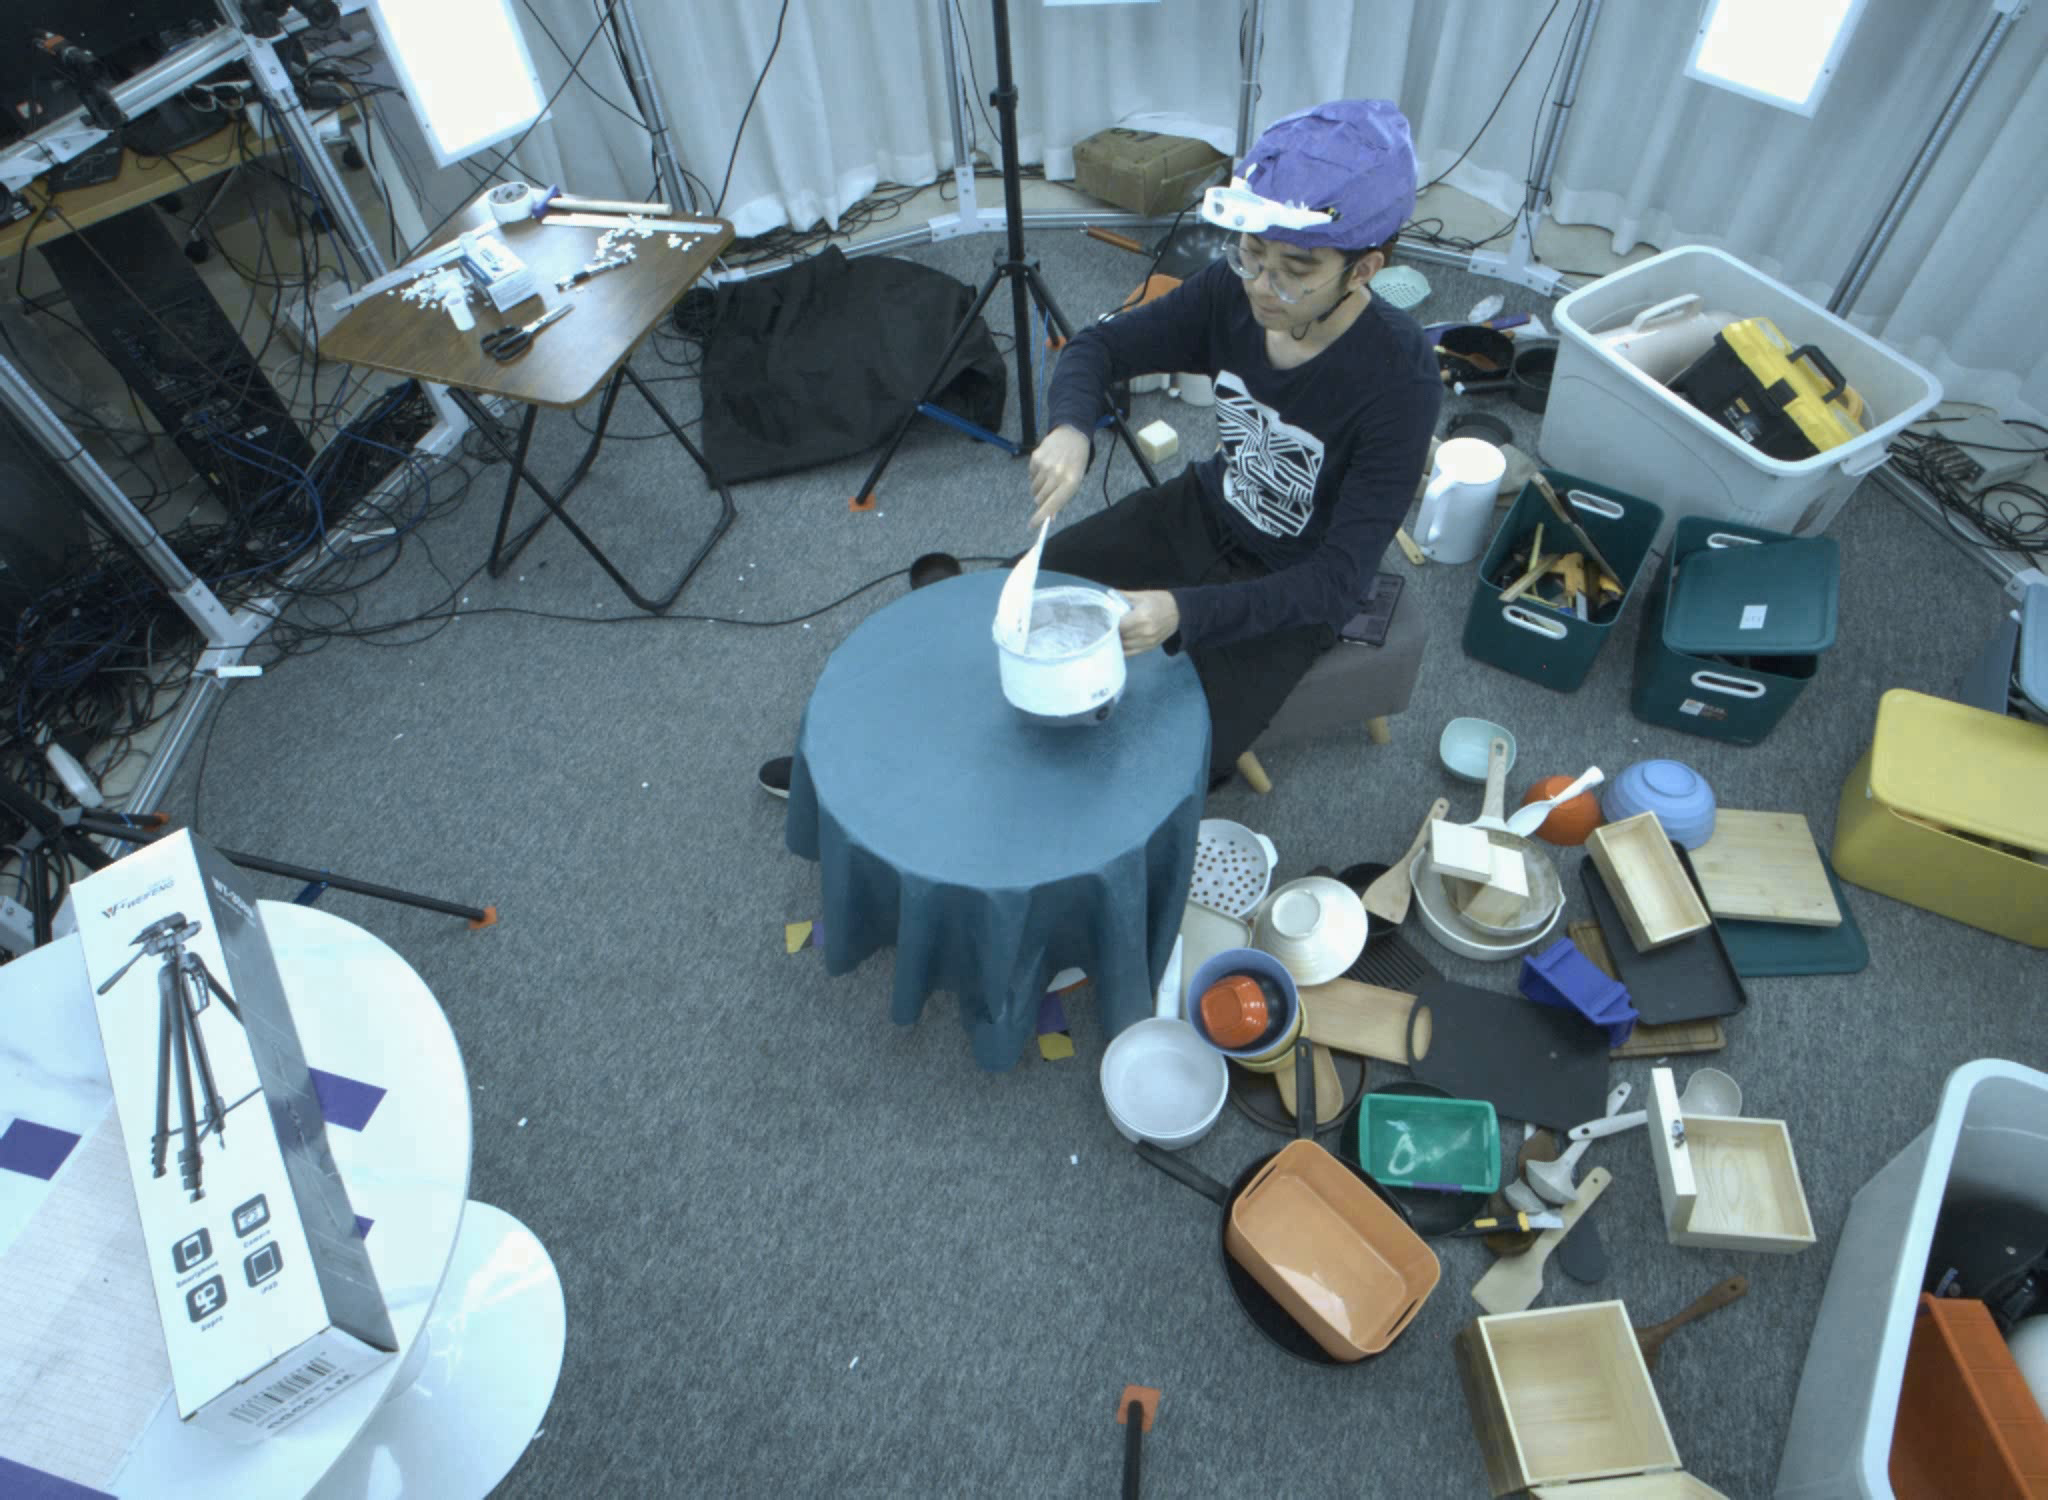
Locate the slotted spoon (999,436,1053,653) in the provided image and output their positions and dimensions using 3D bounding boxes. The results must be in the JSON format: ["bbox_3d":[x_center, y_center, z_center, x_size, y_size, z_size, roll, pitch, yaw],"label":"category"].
[{"bbox_3d":[0.013,-0.293,1.722,0.050,0.138,0.346,13,69,7],"label":"slotted spoon"}]

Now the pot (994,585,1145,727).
[{"bbox_3d":[0.074,-0.142,1.749,0.236,0.138,0.175,-31,49,-25],"label":"pot"}]
